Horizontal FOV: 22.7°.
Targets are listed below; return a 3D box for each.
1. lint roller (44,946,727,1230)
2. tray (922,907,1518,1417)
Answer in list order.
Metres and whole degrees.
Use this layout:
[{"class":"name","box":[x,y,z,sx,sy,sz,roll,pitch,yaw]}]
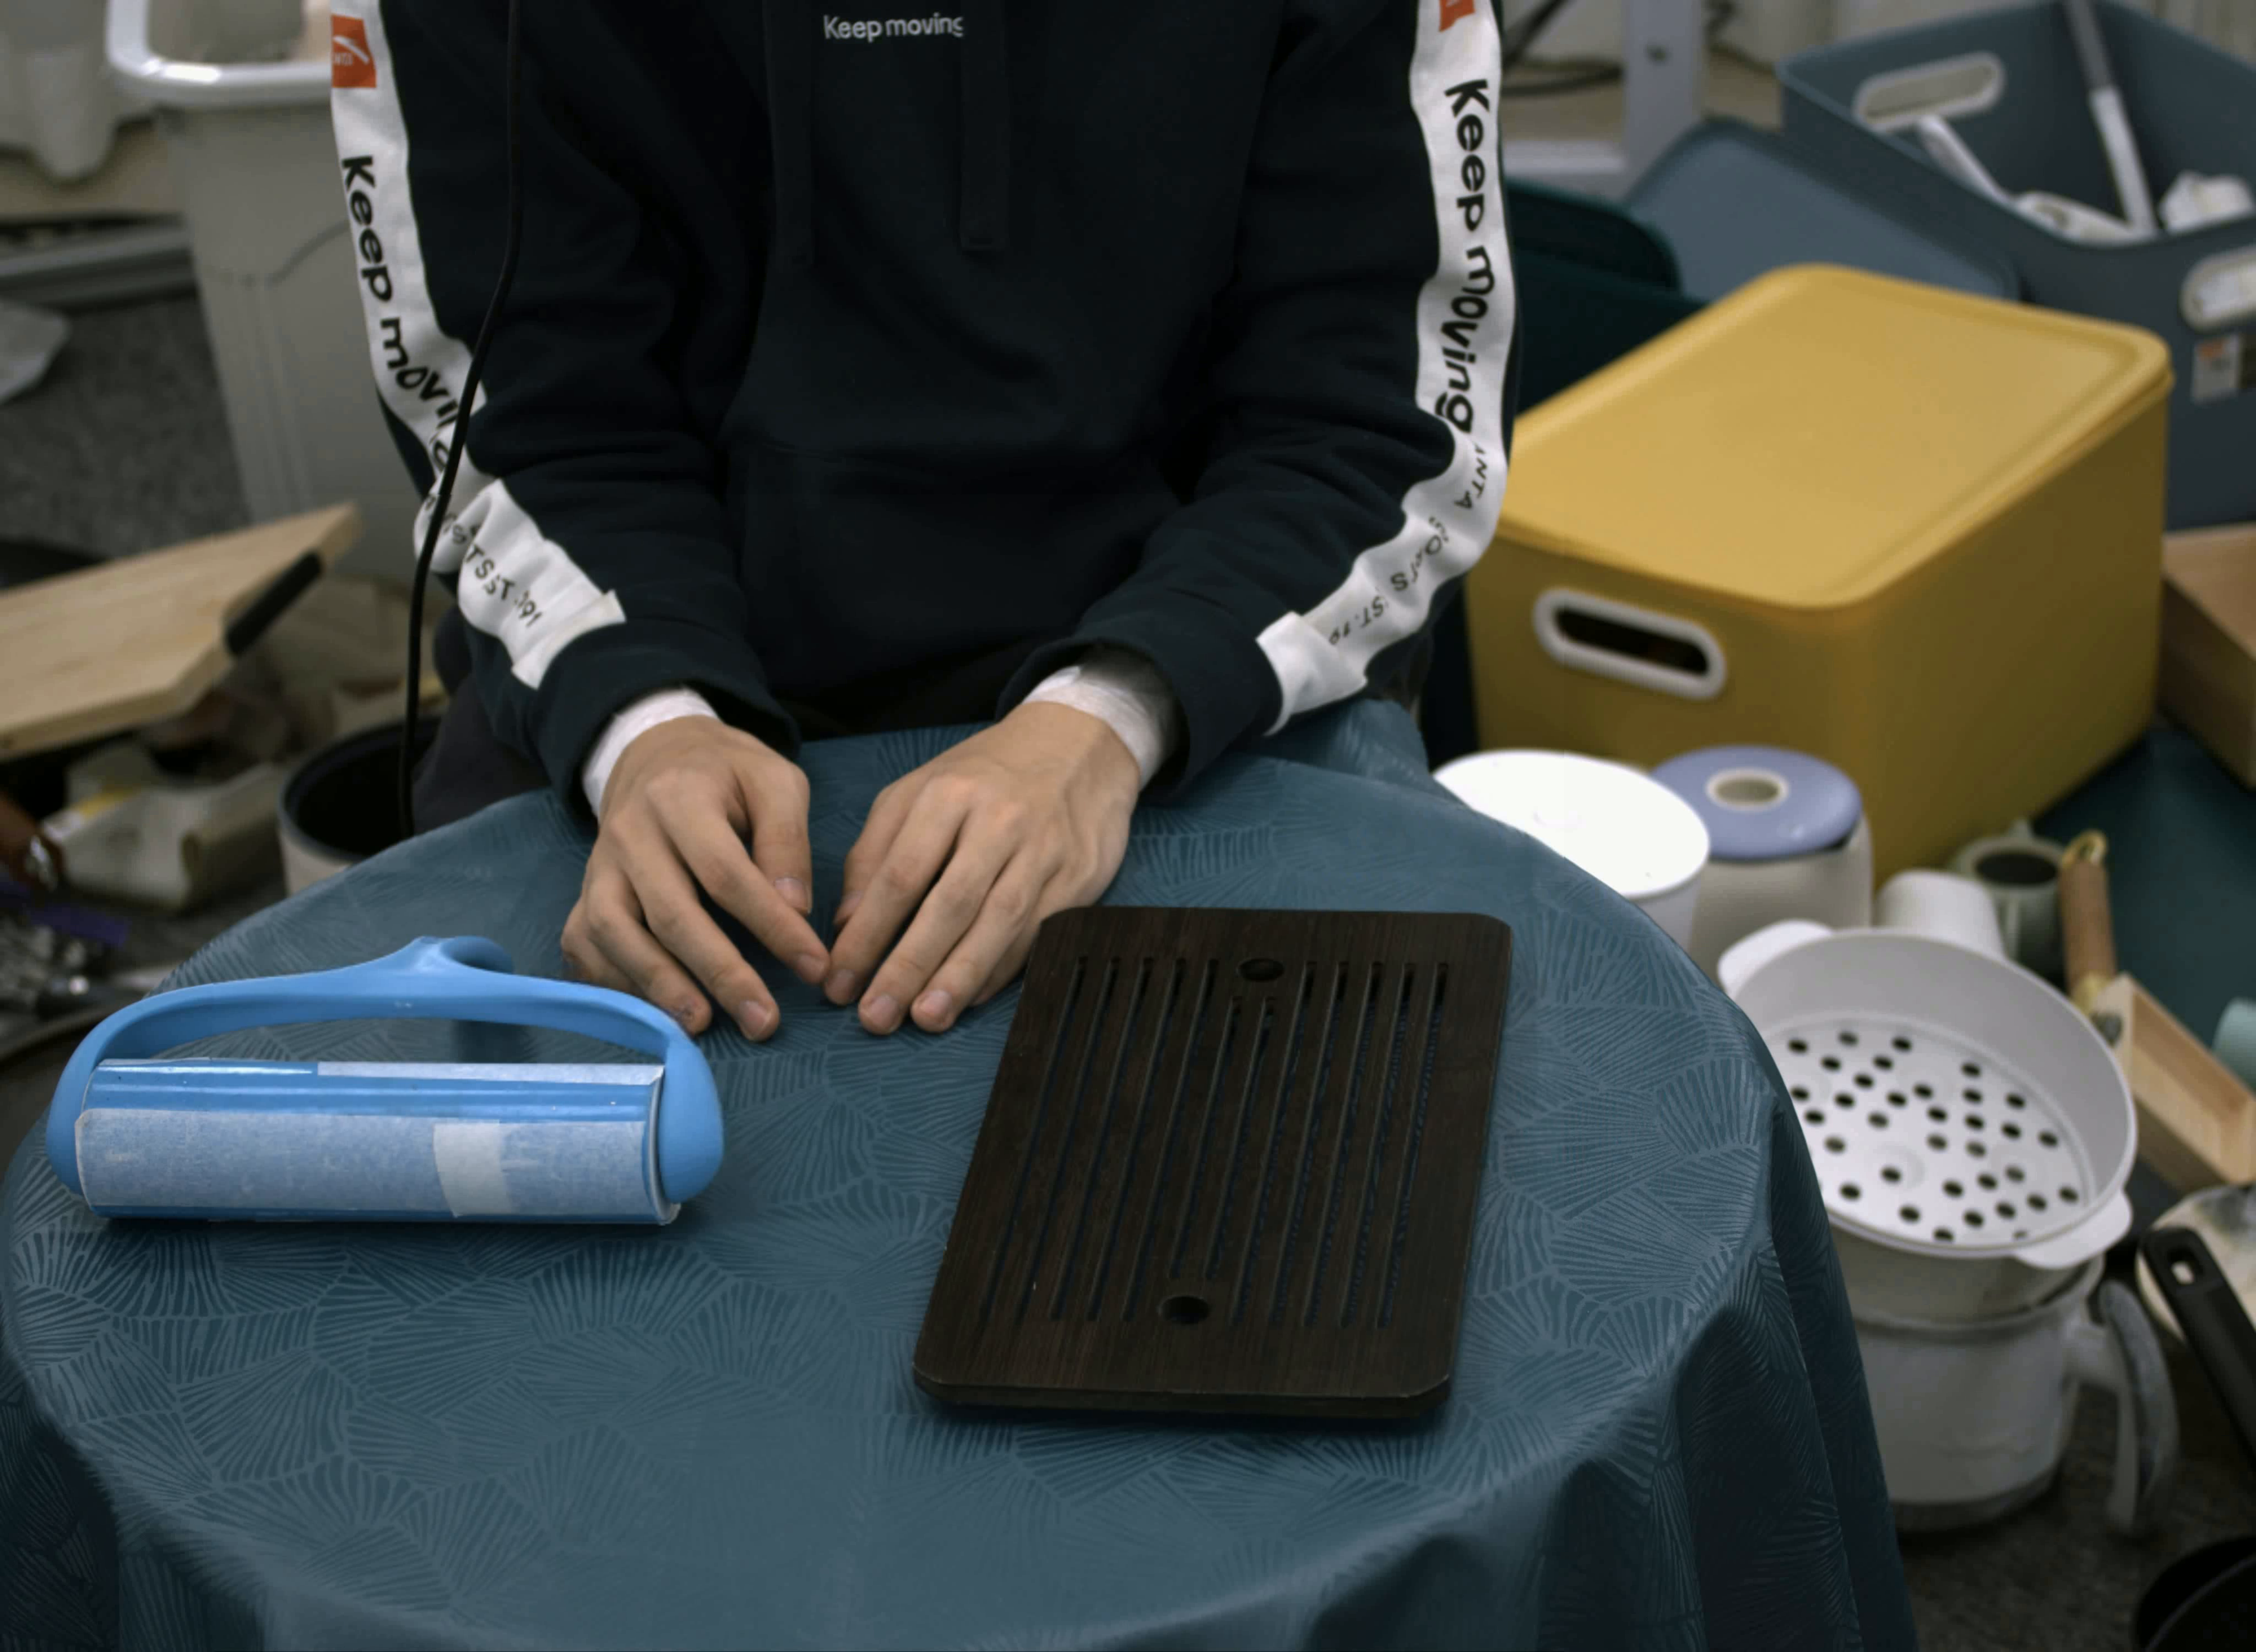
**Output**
[{"class":"lint roller","box":[-0.242,0.076,1.910,0.227,0.067,0.183,-3,29,4]},{"class":"tray","box":[0.037,0.109,1.862,0.169,0.018,0.311,1,28,8]}]
